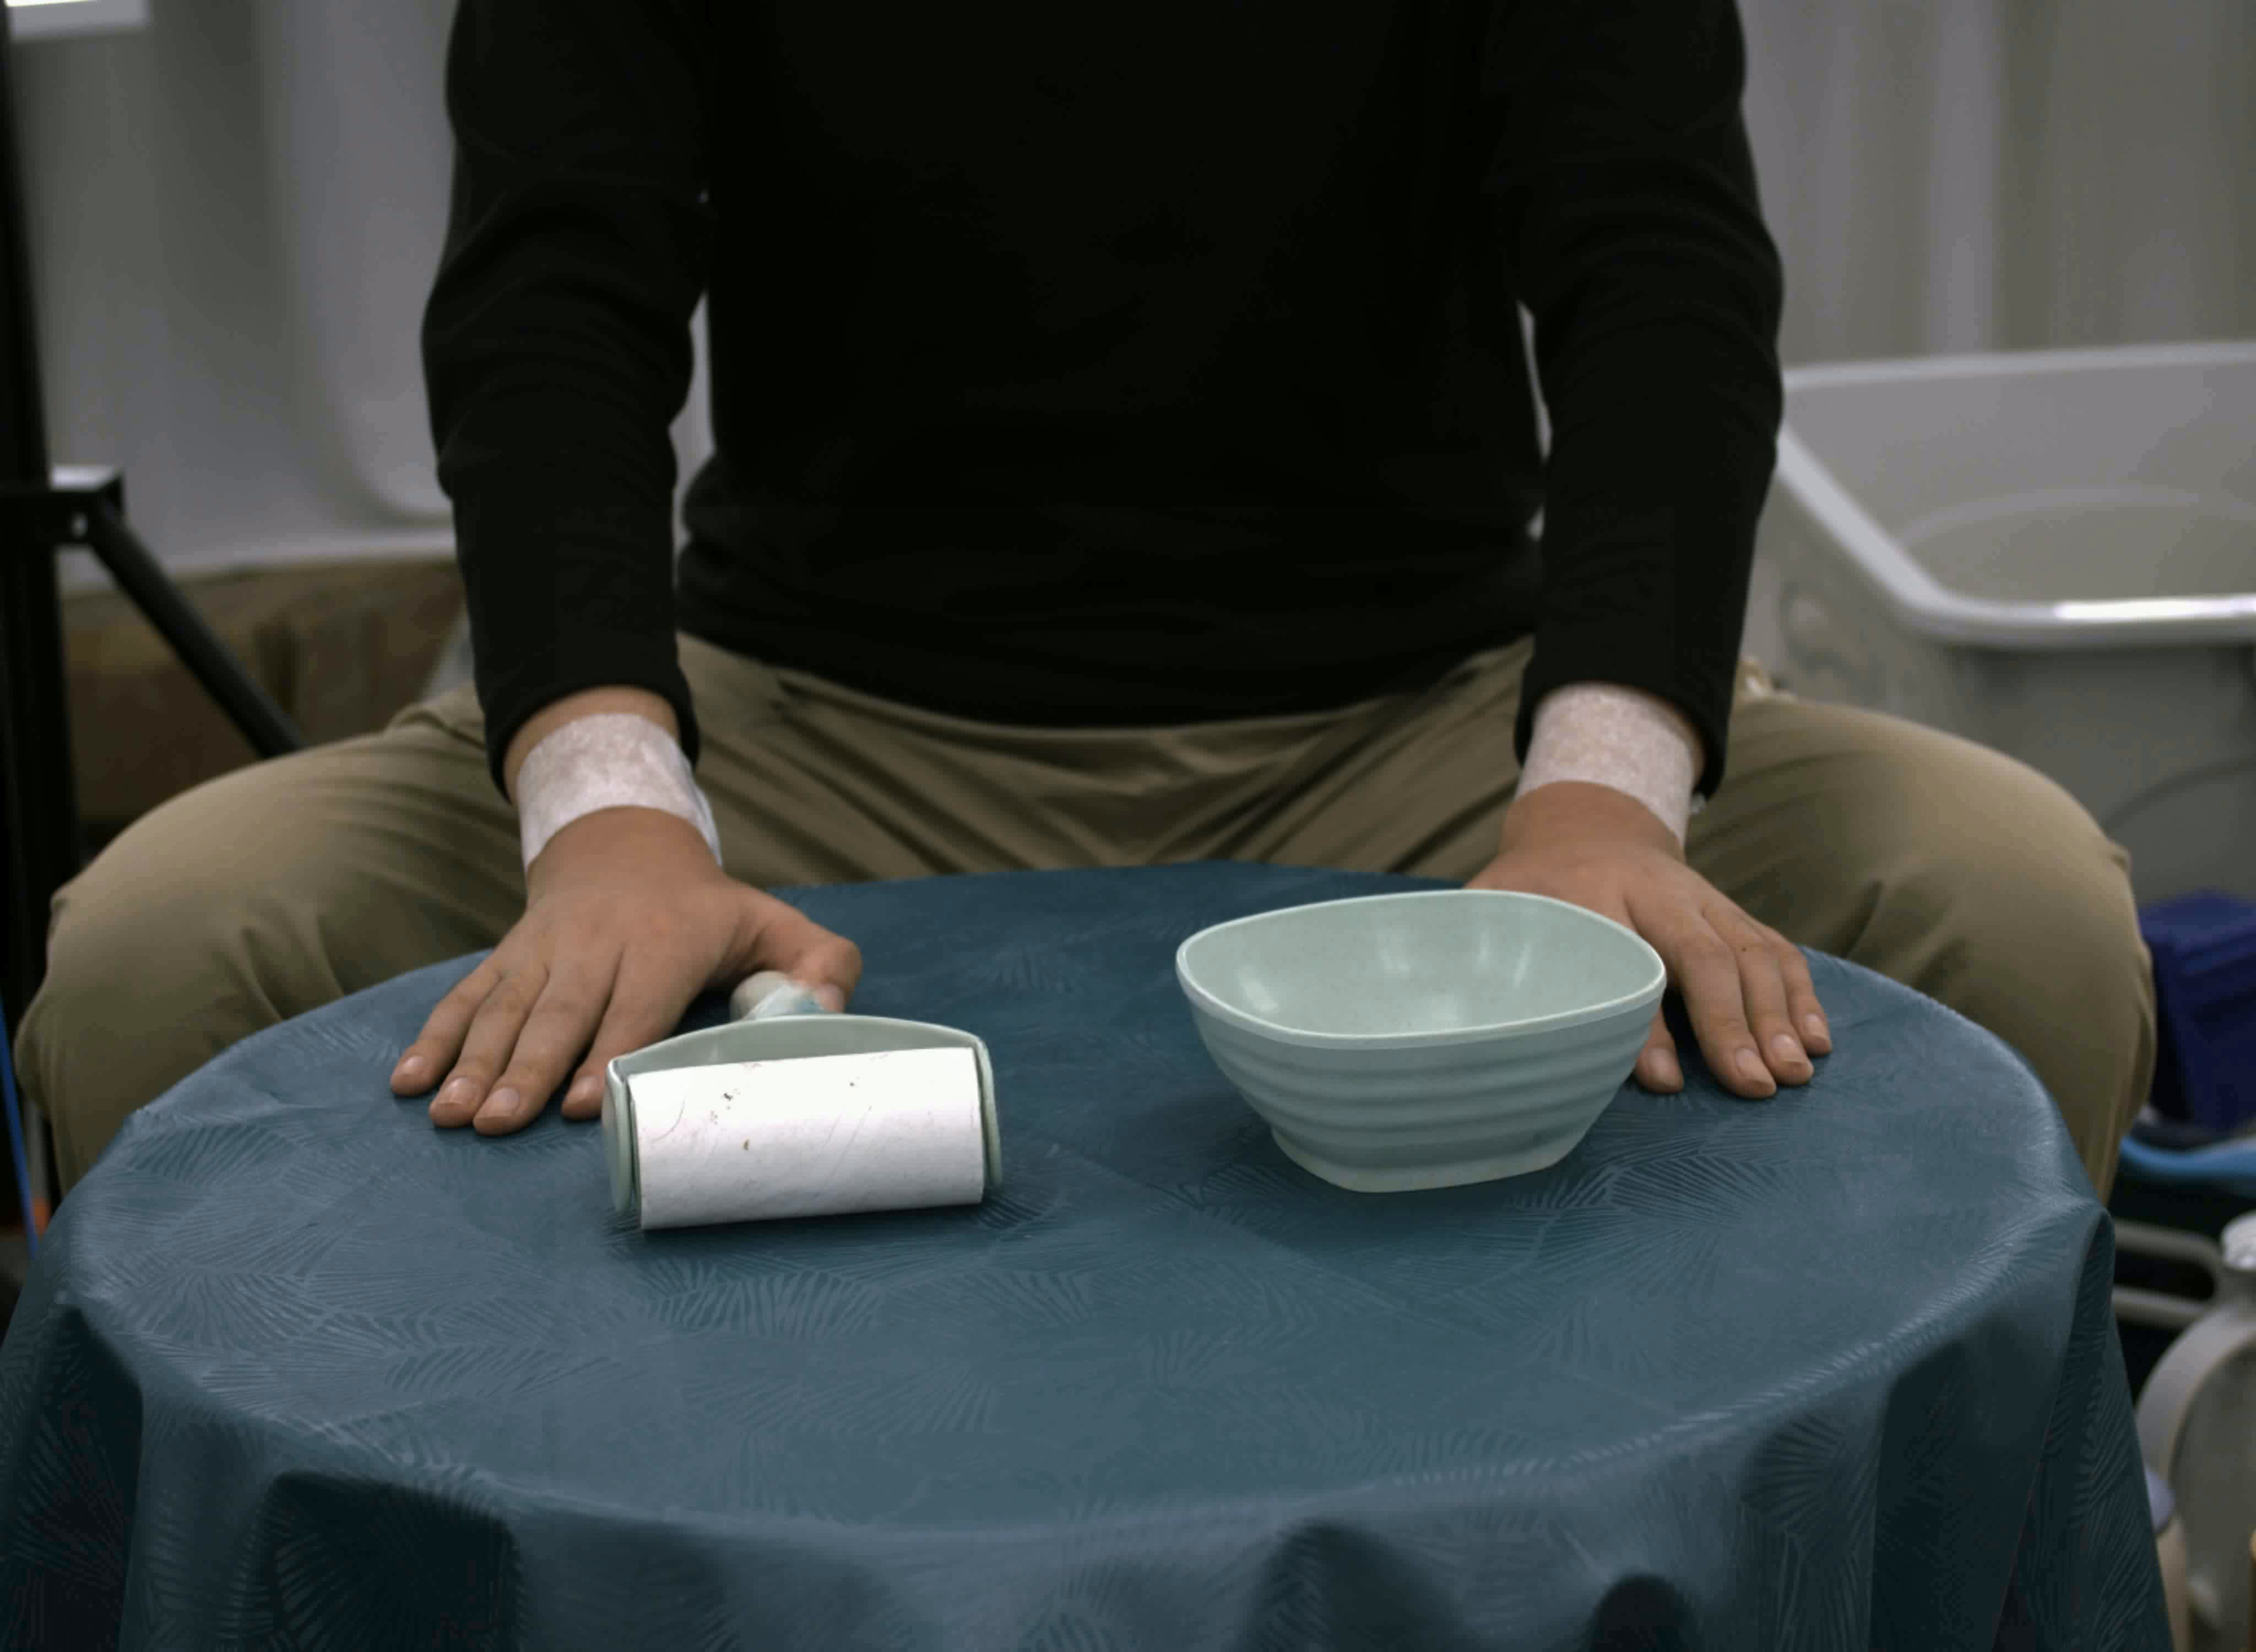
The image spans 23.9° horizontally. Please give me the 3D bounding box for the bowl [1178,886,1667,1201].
[{"bbox_3d":[0.088,0.068,1.581,0.151,0.058,0.152,-3,17,0],"label":"bowl"}]

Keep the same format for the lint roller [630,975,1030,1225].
[{"bbox_3d":[-0.096,0.072,1.619,0.115,0.048,0.199,-5,14,-6],"label":"lint roller"}]
